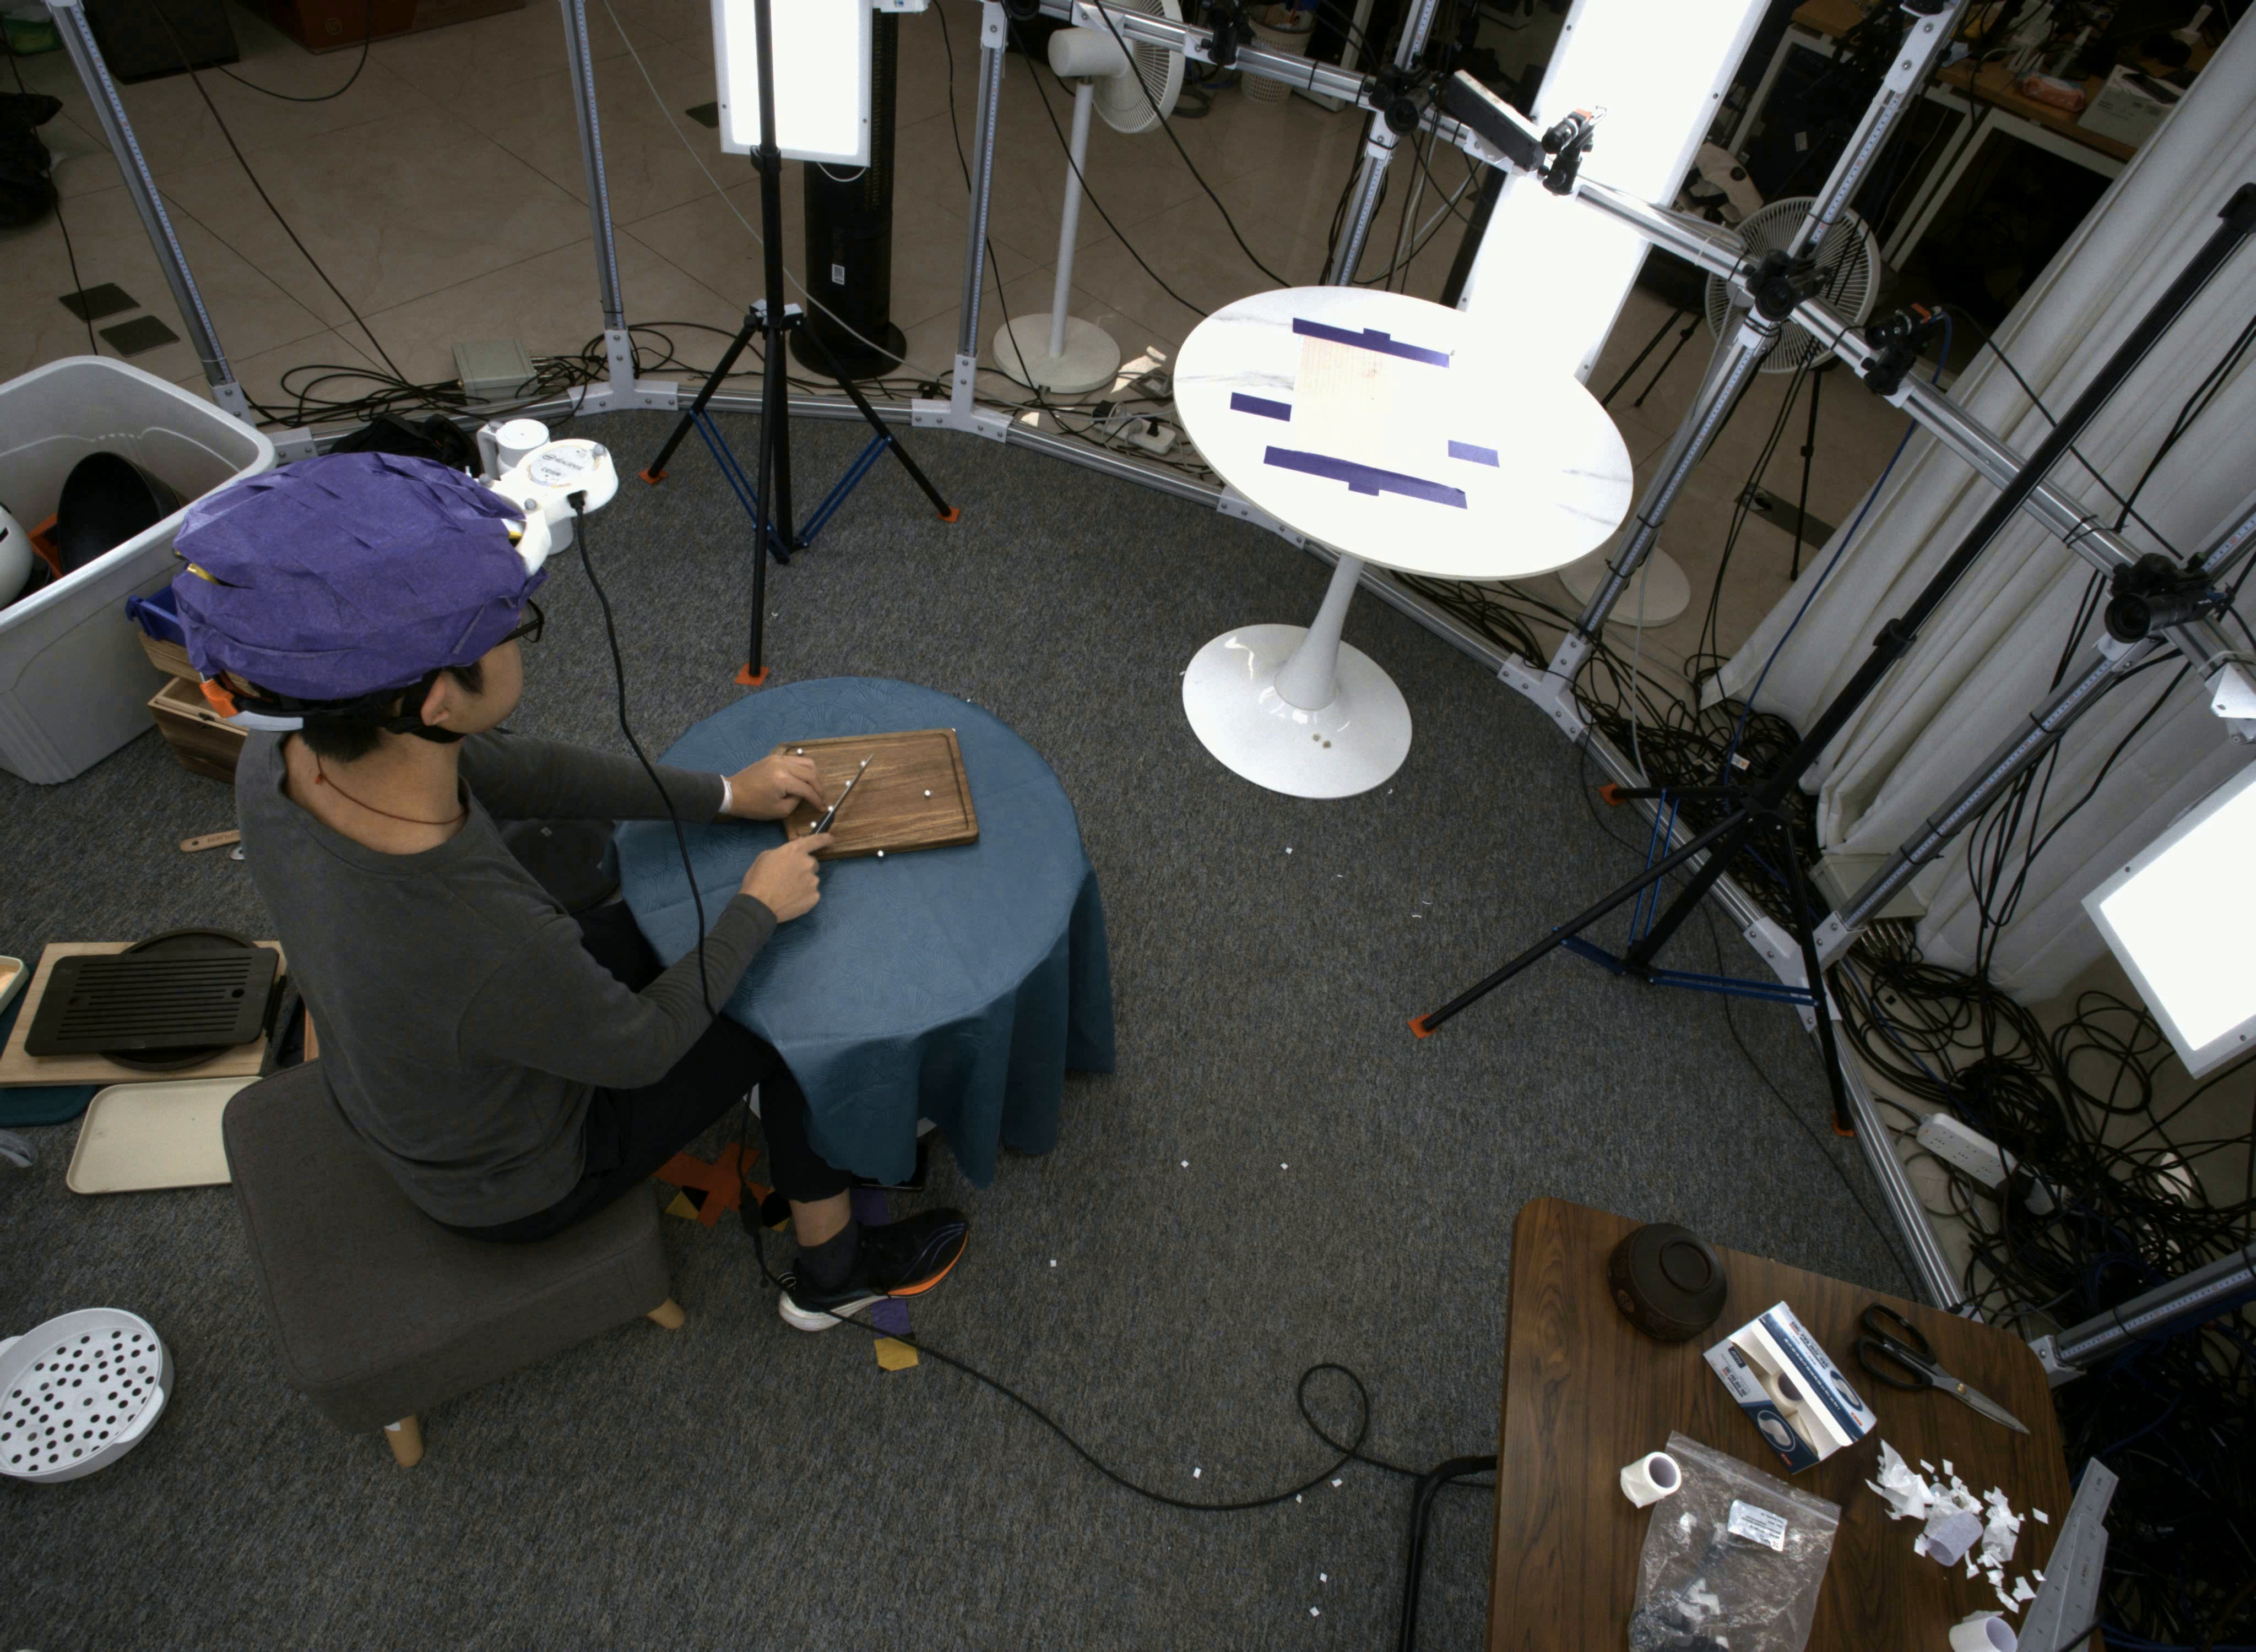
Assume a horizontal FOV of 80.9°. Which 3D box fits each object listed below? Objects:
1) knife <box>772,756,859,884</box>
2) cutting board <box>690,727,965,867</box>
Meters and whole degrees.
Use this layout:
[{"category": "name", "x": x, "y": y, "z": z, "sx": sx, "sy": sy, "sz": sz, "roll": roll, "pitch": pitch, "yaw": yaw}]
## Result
[{"category": "knife", "x": -0.404, "y": -0.016, "z": 1.696, "sx": 0.016, "sy": 0.025, "sz": 0.236, "roll": 25, "pitch": 49, "yaw": -1}, {"category": "cutting board", "x": -0.411, "y": -0.038, "z": 1.754, "sx": 0.353, "sy": 0.023, "sz": 0.196, "roll": -8, "pitch": 56, "yaw": -19}]
